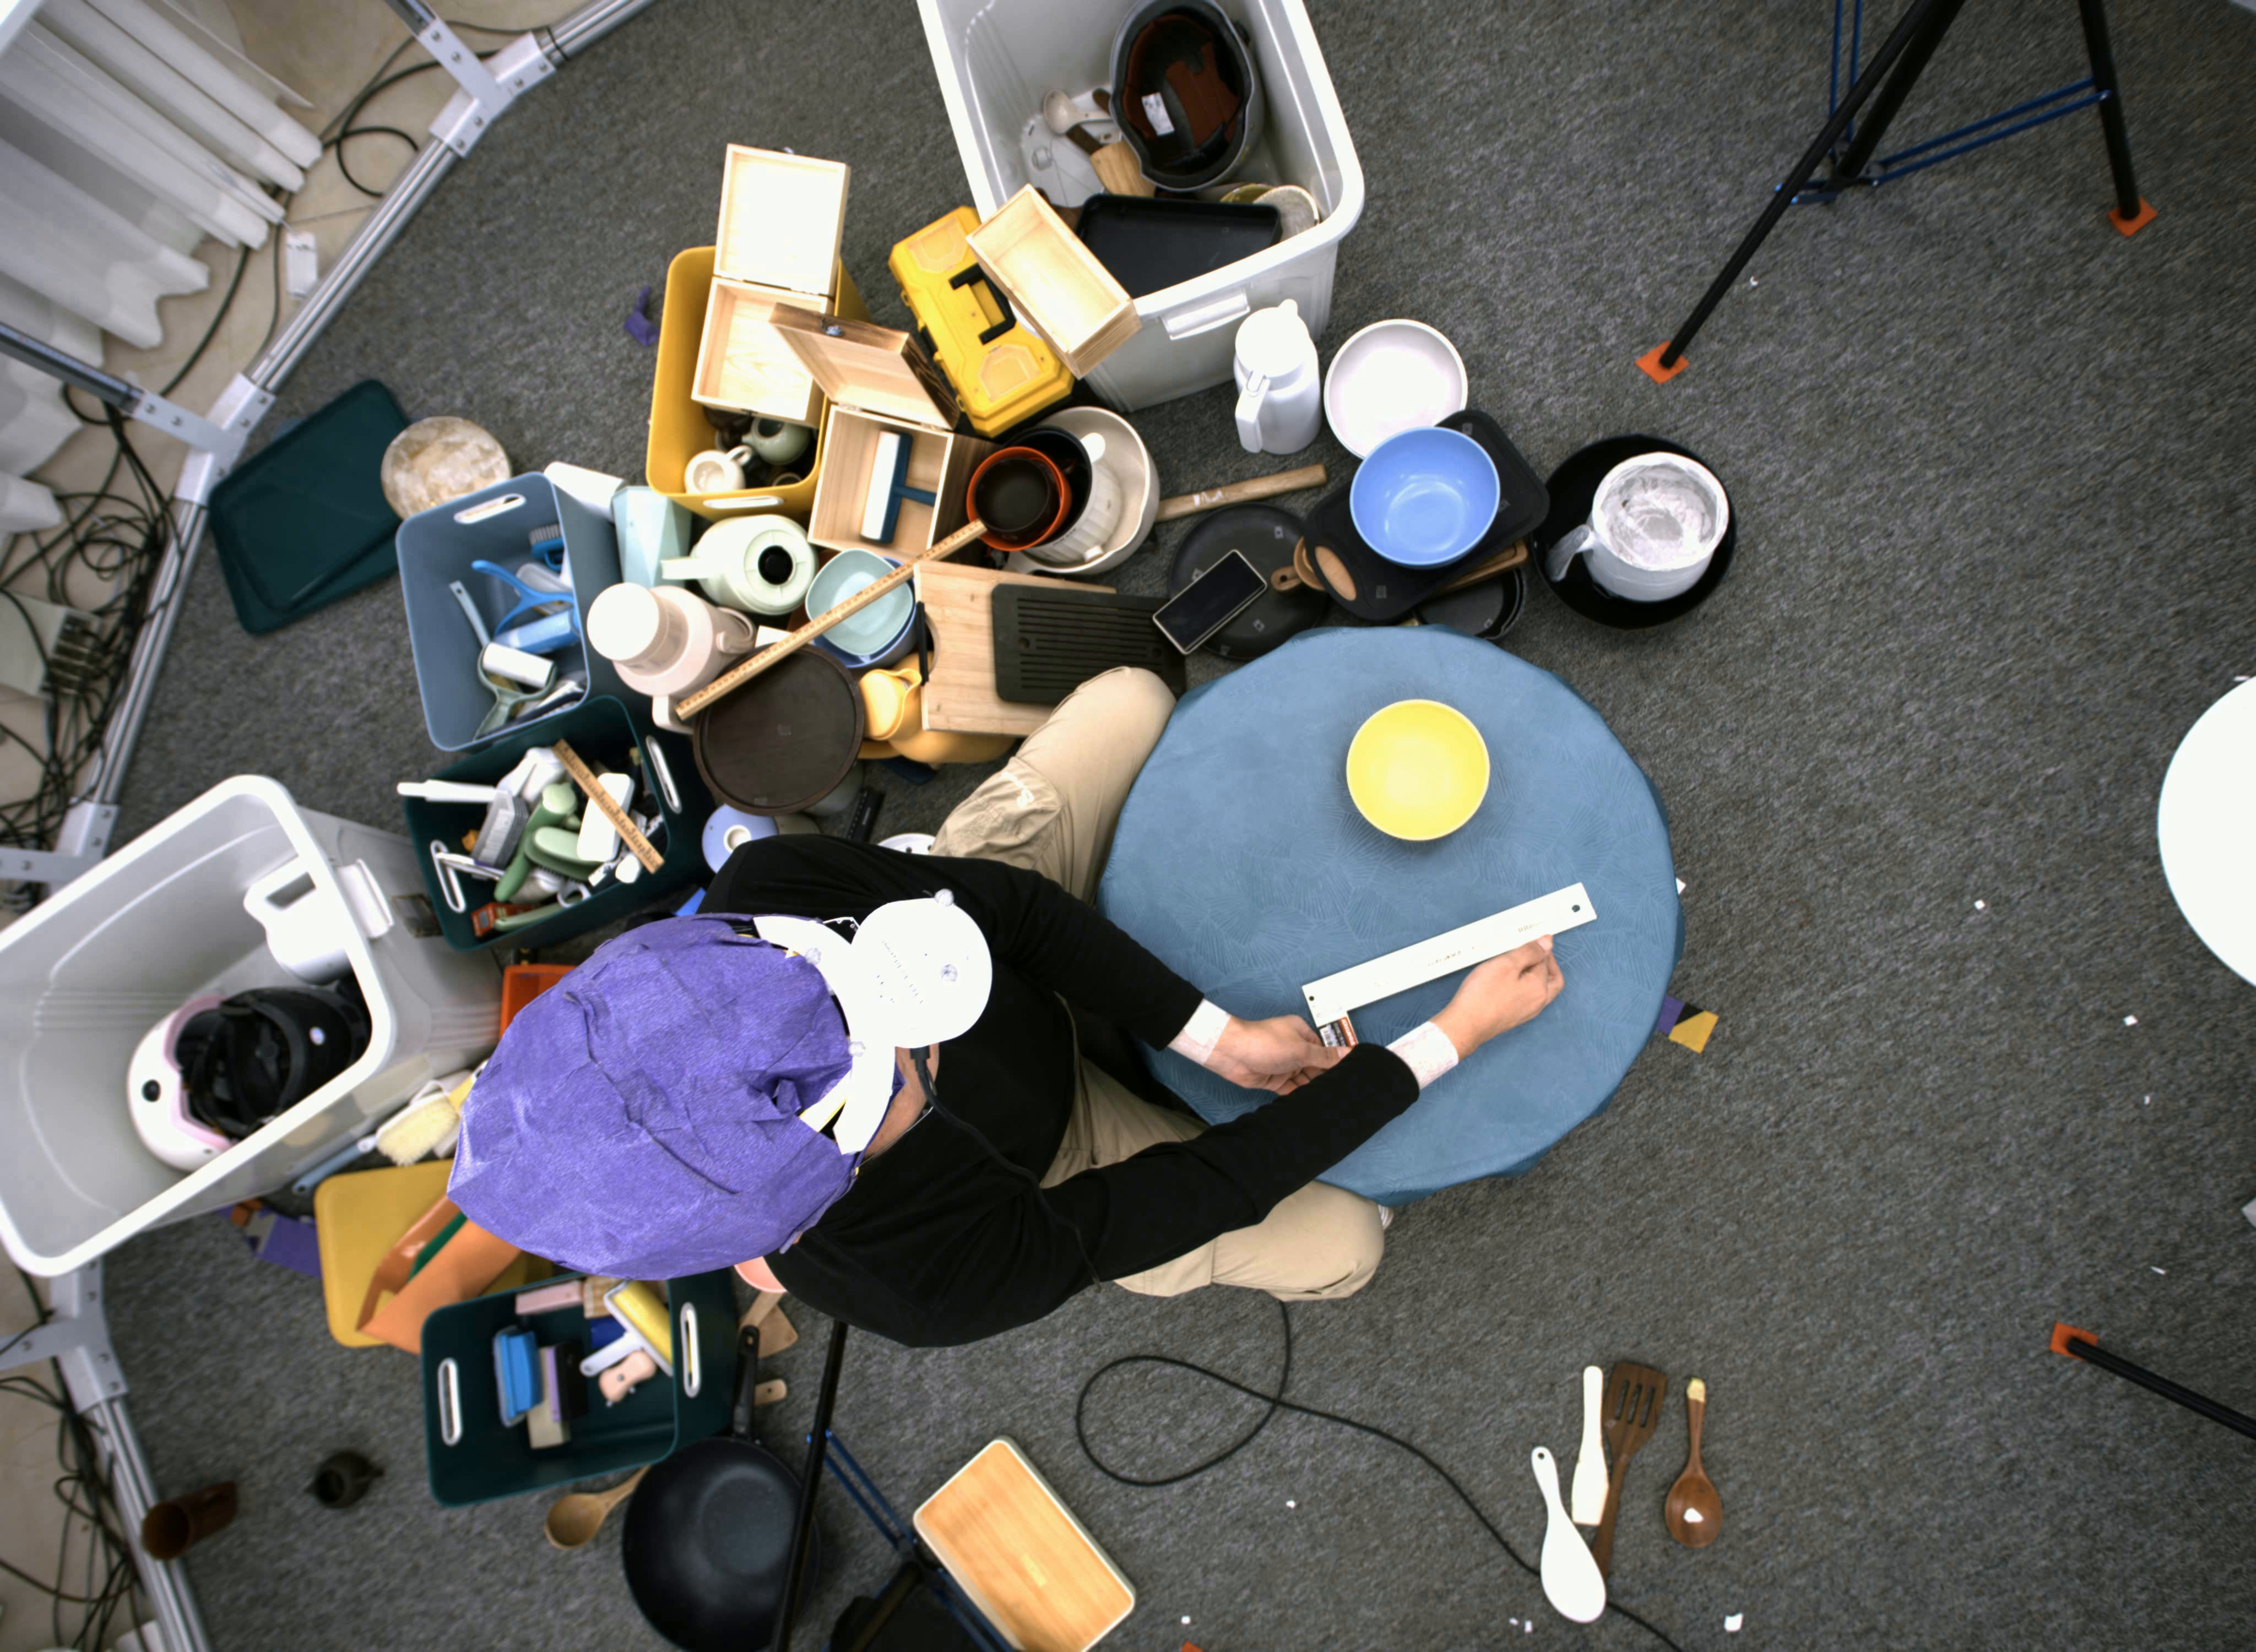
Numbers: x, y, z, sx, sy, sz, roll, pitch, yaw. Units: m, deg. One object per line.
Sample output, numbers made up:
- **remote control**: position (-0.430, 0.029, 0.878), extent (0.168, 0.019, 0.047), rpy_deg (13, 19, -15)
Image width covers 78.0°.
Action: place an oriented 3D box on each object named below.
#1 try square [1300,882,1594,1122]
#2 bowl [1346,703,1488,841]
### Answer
- **try square**: position (0.347, 0.180, 1.425), extent (0.314, 0.016, 0.150), rpy_deg (-21, 77, 6)
- **bowl**: position (0.301, -0.054, 1.433), extent (0.146, 0.060, 0.144), rpy_deg (-2, 84, 13)
